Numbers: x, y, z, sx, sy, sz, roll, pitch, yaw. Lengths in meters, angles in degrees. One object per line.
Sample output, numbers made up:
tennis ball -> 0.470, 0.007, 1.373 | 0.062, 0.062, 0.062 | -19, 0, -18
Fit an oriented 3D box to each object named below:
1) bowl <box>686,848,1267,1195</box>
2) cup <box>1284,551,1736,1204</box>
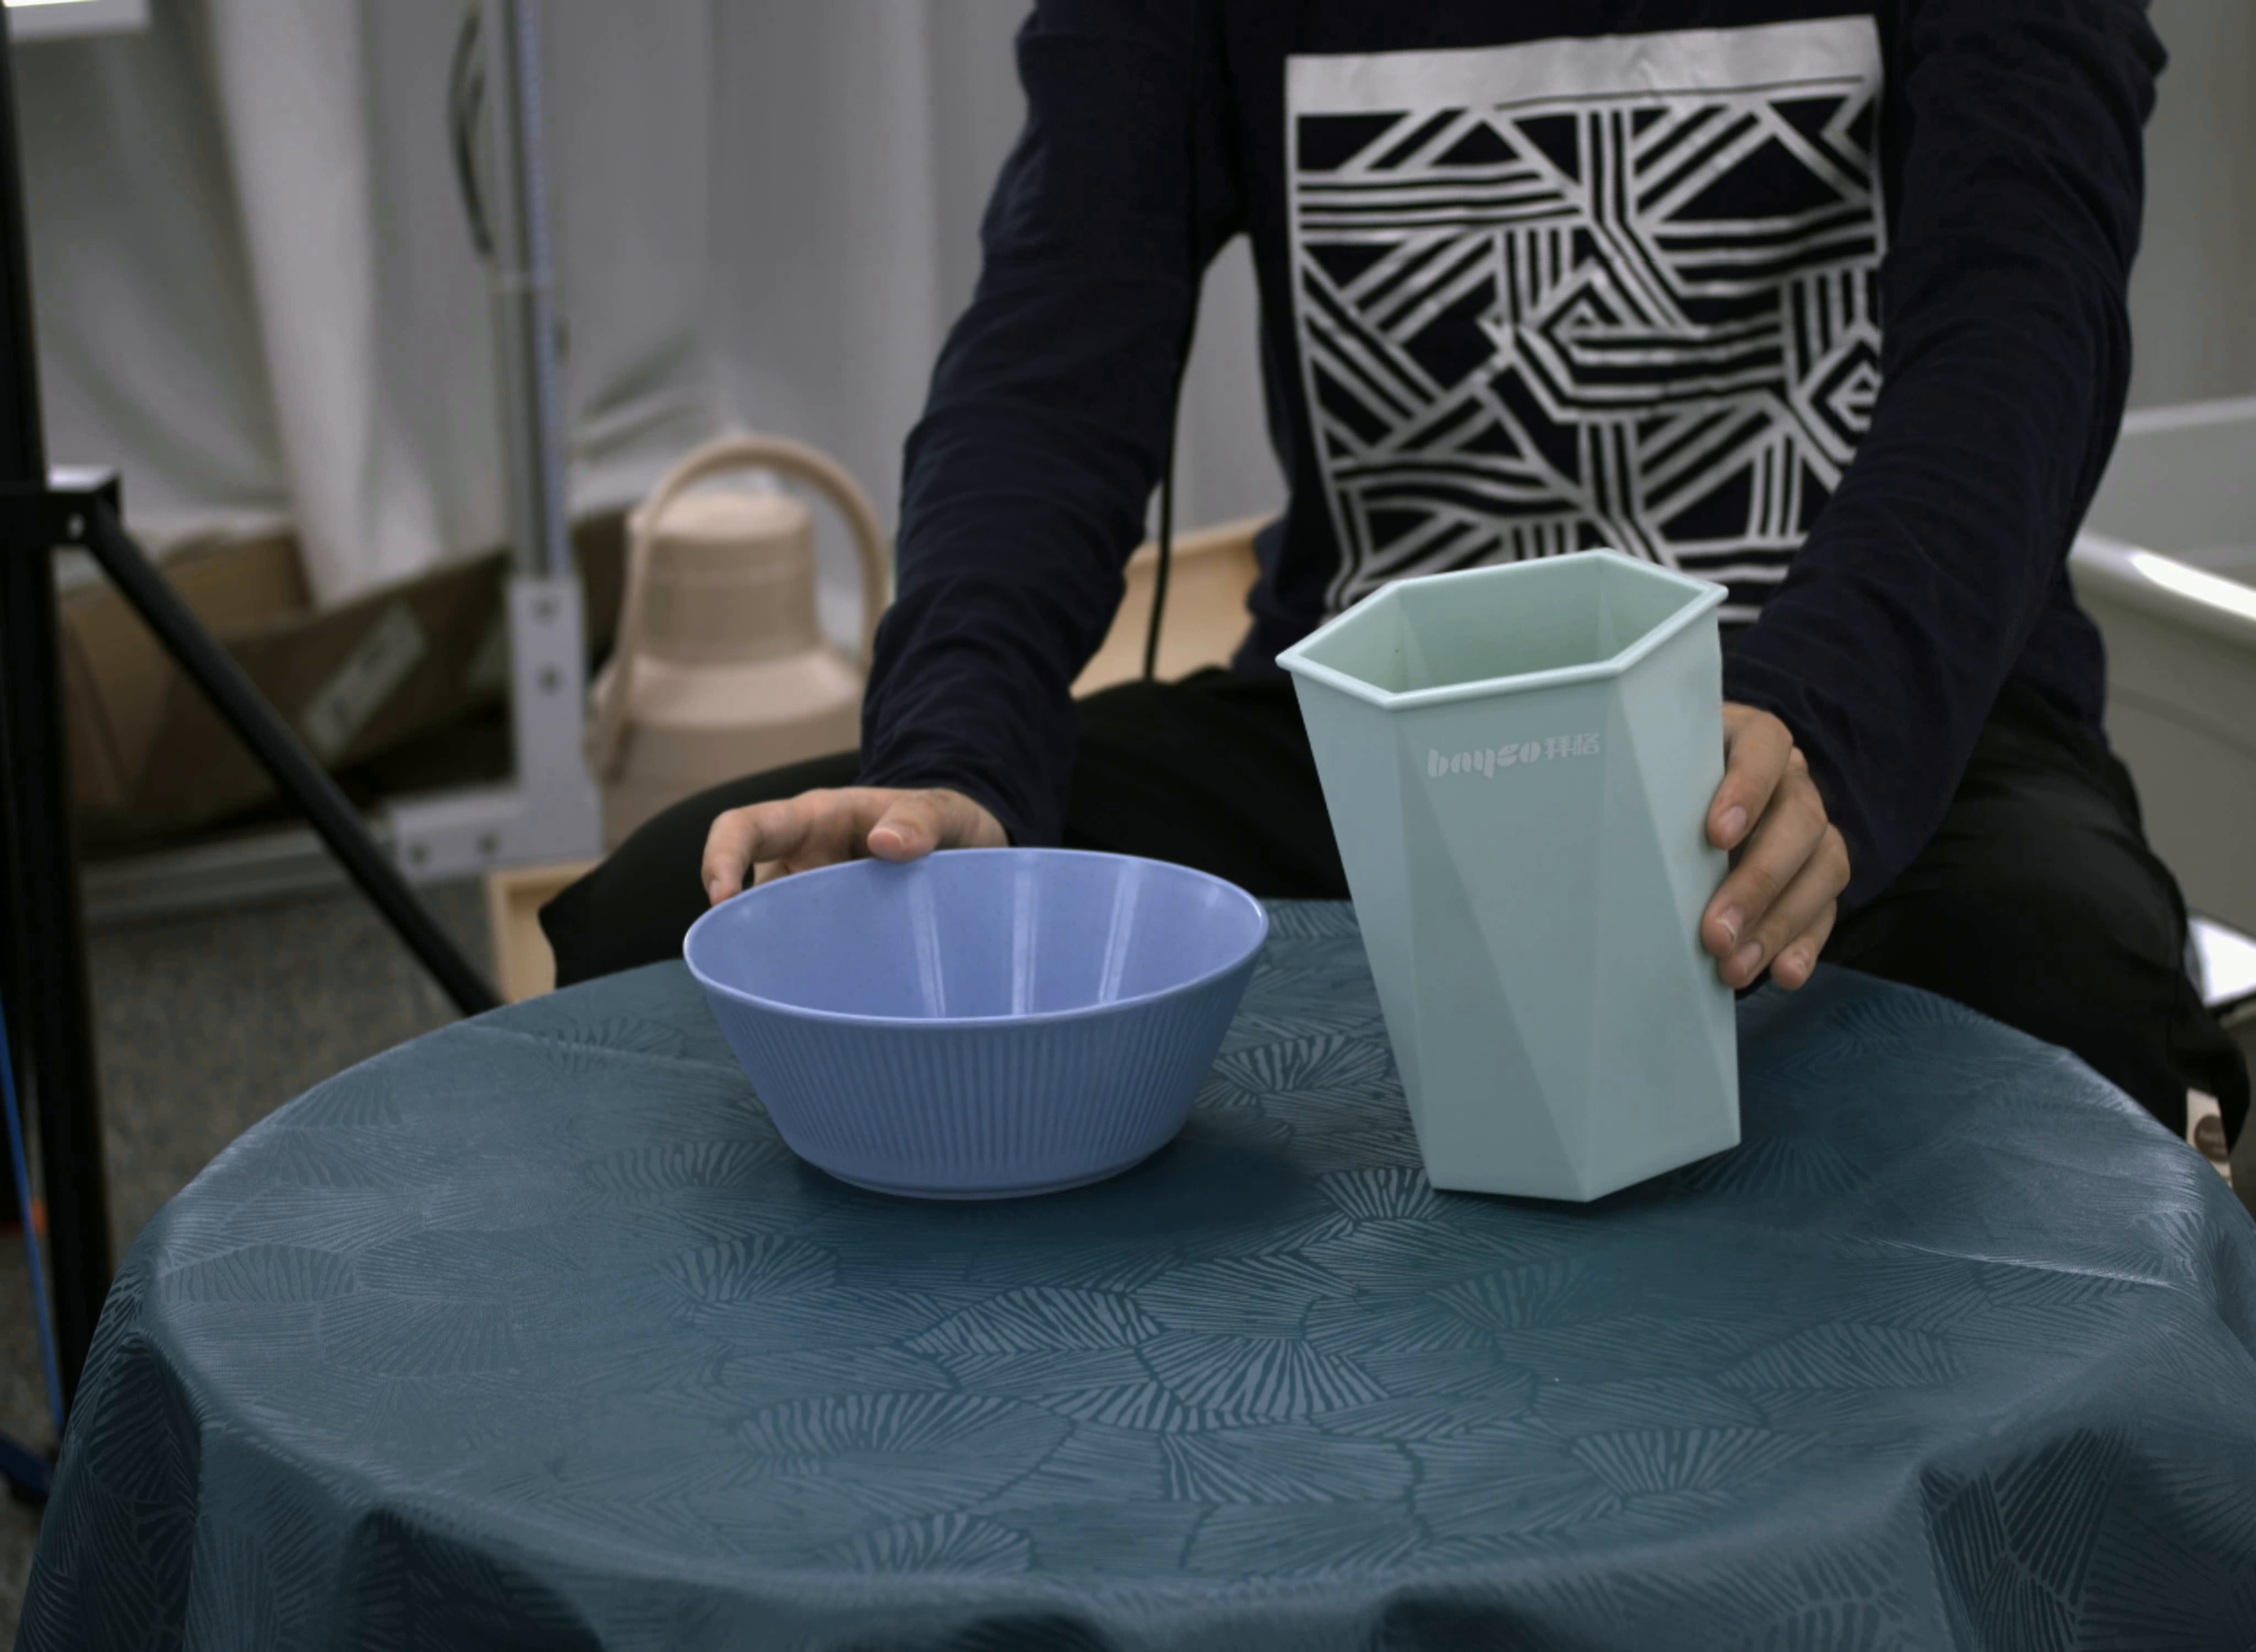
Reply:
bowl -> -0.045, 0.061, 1.604 | 0.175, 0.070, 0.177 | -2, 15, -1
cup -> 0.120, 0.017, 1.540 | 0.131, 0.162, 0.115 | -7, 16, 4
